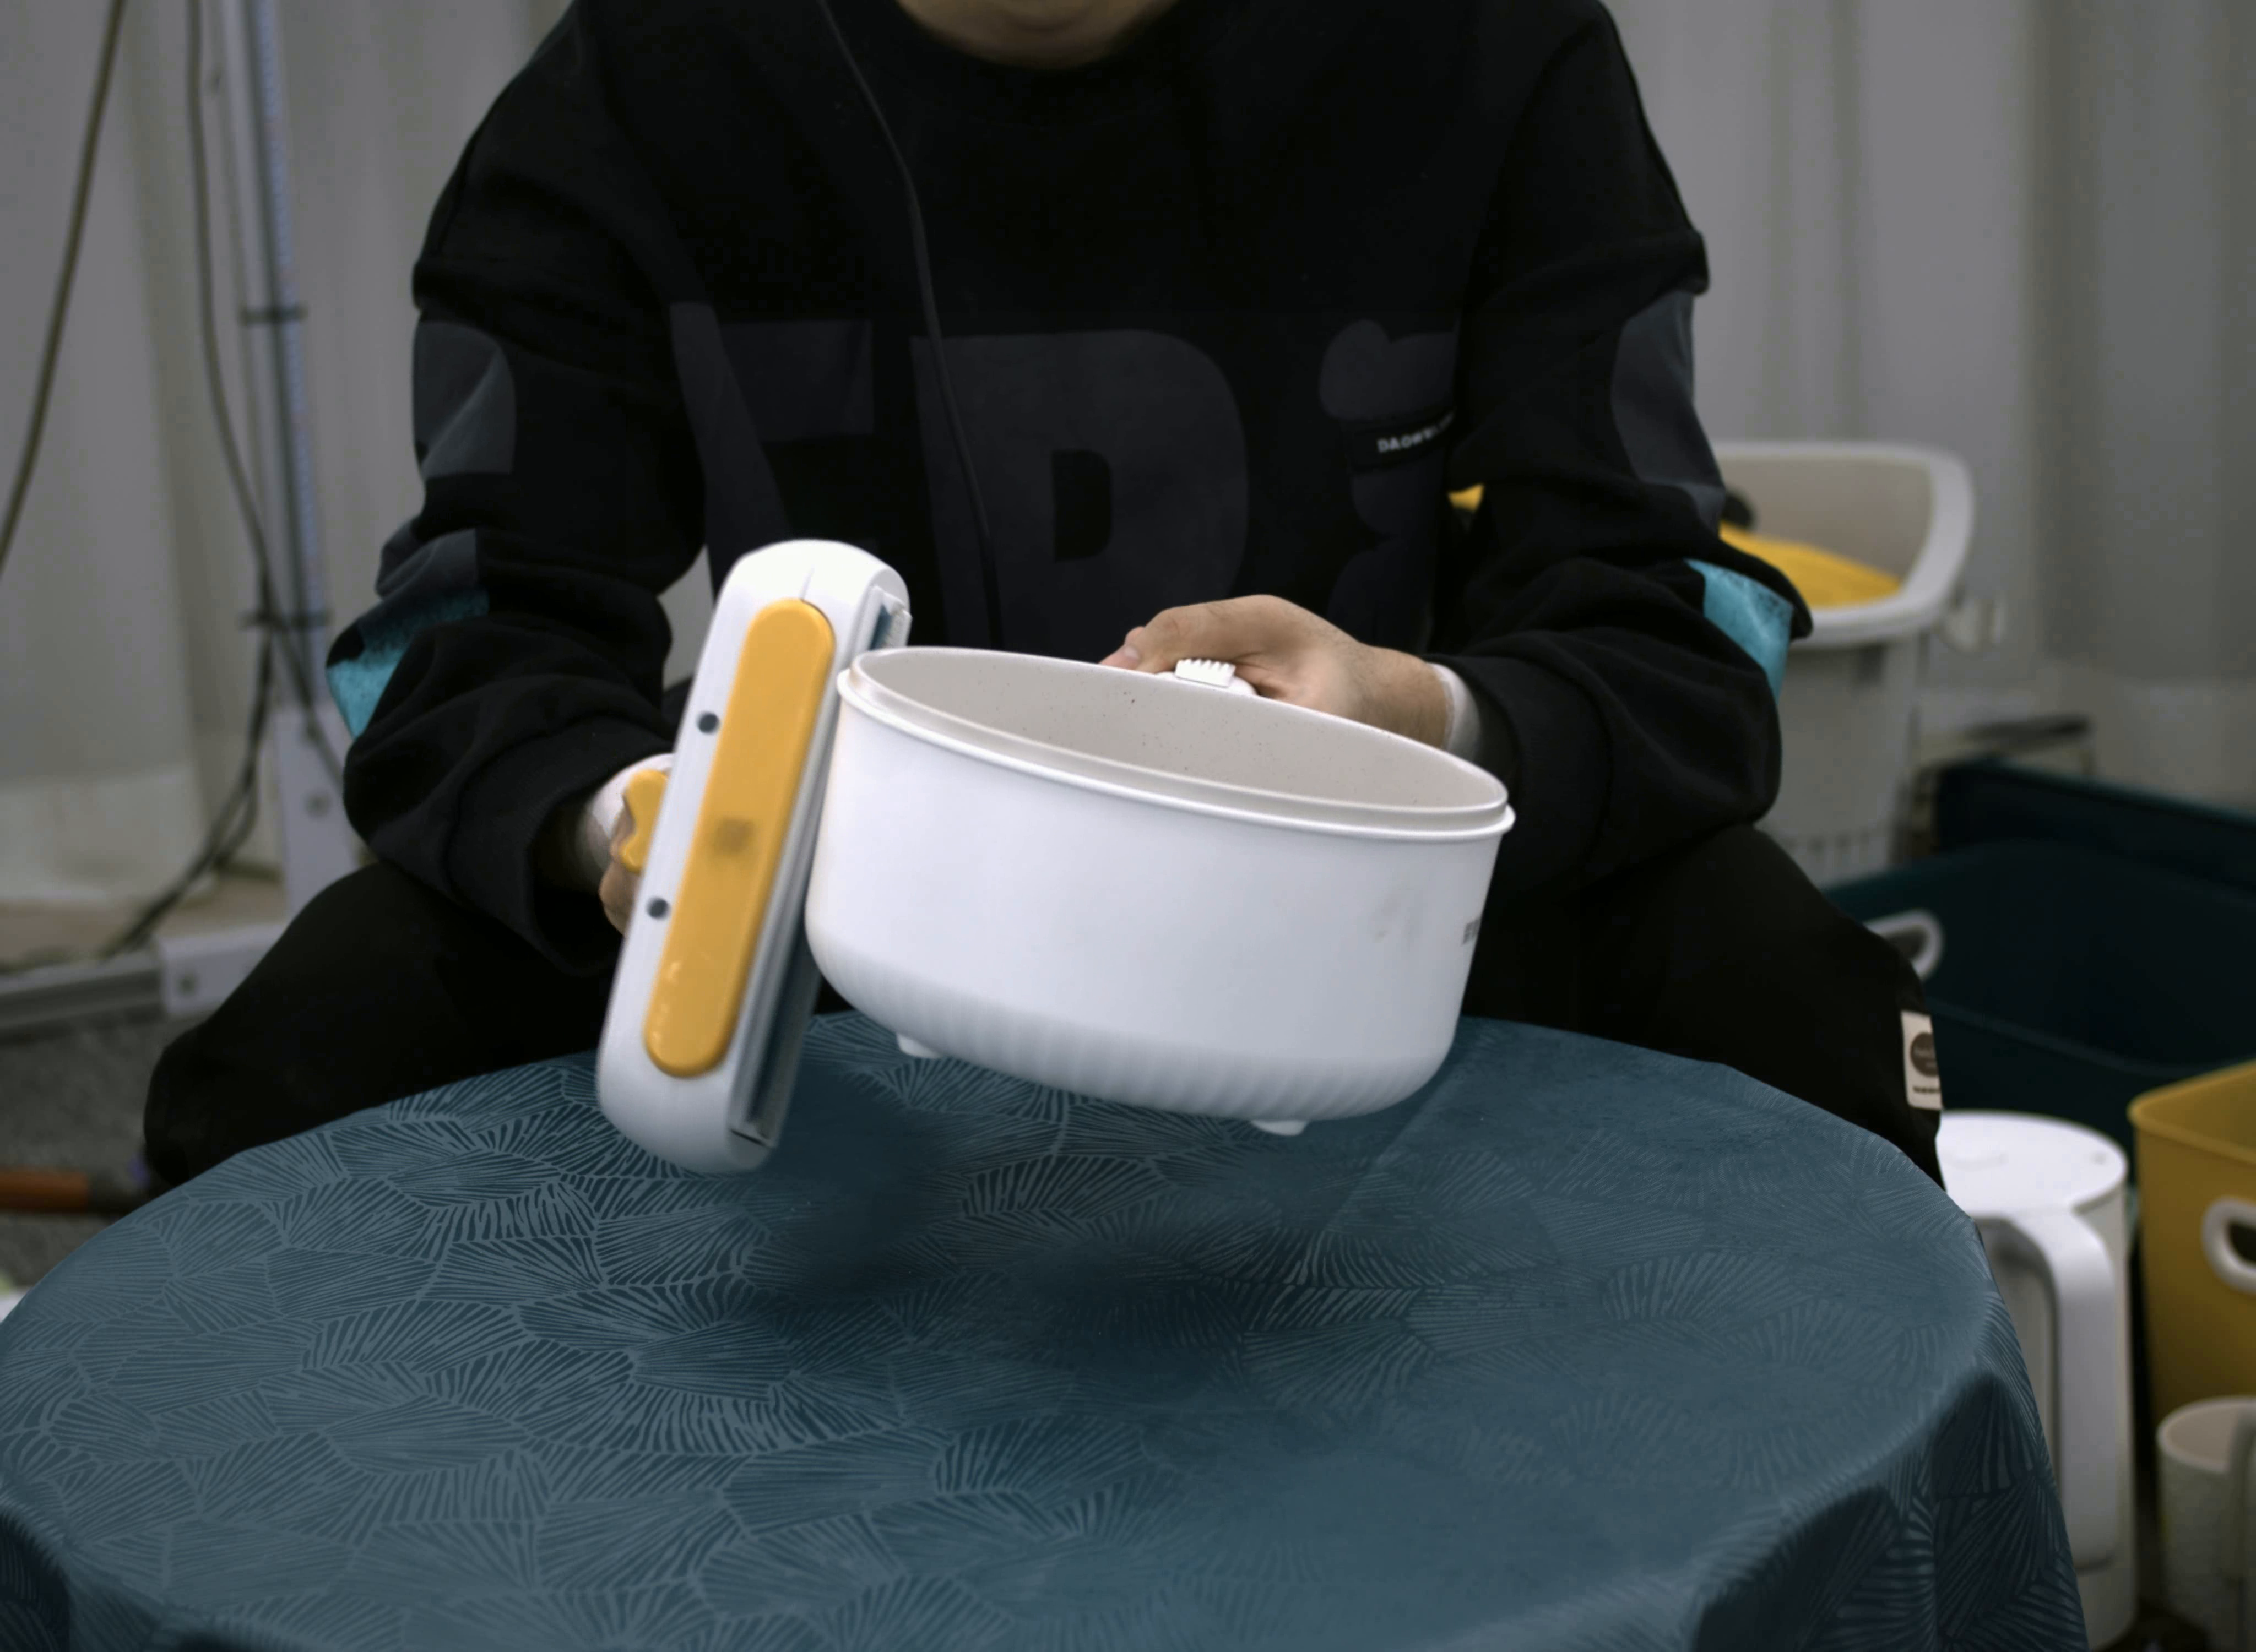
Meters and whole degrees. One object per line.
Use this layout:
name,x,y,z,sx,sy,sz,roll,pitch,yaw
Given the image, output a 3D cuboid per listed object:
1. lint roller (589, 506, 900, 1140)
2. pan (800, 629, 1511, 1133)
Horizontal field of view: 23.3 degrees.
lint roller,-0.117,0.010,1.695,0.074,0.194,0.191,9,-13,5
pan,0.008,0.007,1.672,0.201,0.102,0.356,13,9,2
